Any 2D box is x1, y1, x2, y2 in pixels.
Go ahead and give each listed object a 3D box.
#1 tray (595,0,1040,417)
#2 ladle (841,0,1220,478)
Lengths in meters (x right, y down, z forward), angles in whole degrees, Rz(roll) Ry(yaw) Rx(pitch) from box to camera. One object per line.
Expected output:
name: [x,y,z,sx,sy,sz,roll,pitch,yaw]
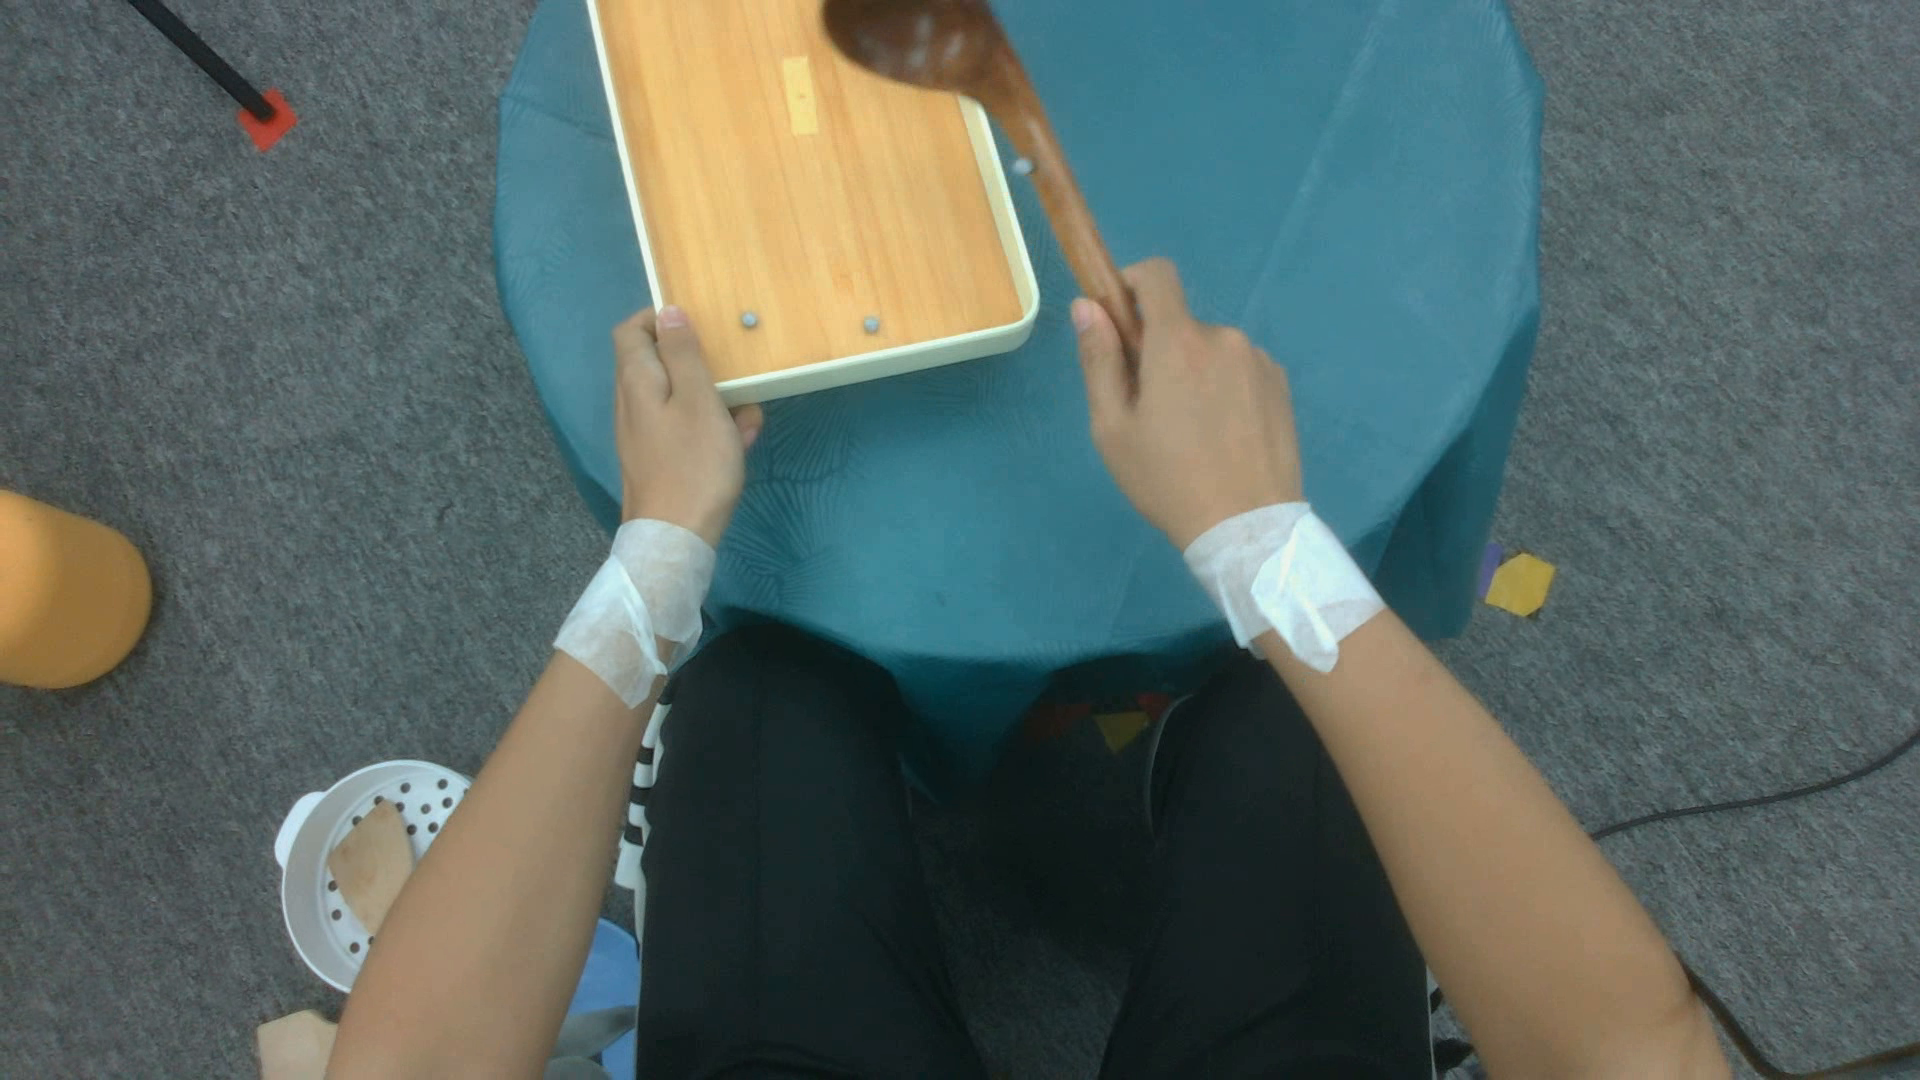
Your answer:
tray: [-0.084,-0.219,0.753,0.192,0.027,0.301,-12,71,-9]
ladle: [0.030,-0.143,0.635,0.077,0.081,0.274,-23,85,-19]
